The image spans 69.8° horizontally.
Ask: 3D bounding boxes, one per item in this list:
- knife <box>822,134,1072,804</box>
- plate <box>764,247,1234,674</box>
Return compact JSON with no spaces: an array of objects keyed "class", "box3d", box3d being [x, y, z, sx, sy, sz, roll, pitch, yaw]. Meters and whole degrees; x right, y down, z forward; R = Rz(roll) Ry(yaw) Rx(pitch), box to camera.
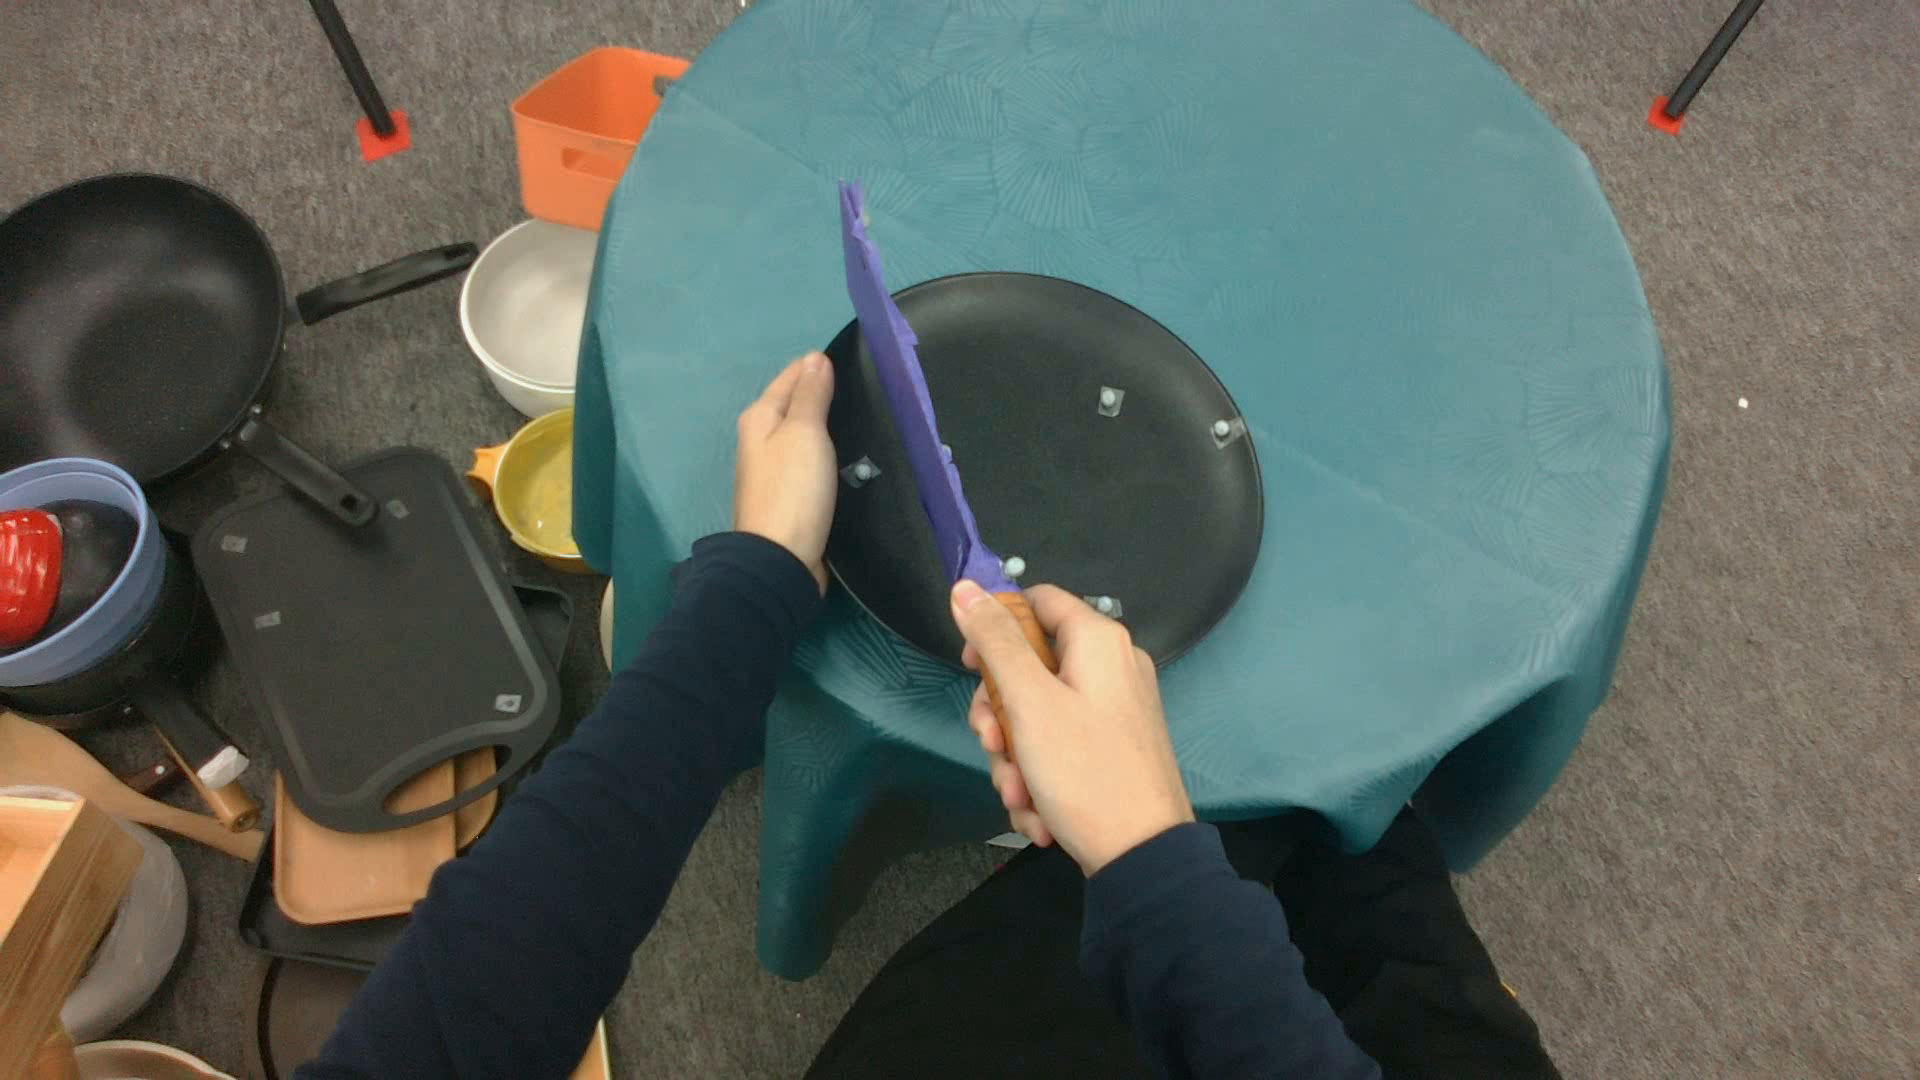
[{"class":"knife","box3d":[-0.015,-0.029,0.616,0.032,0.103,0.316,-13,68,-10]},{"class":"plate","box3d":[0.022,-0.043,0.697,0.244,0.023,0.245,6,62,-12]}]
